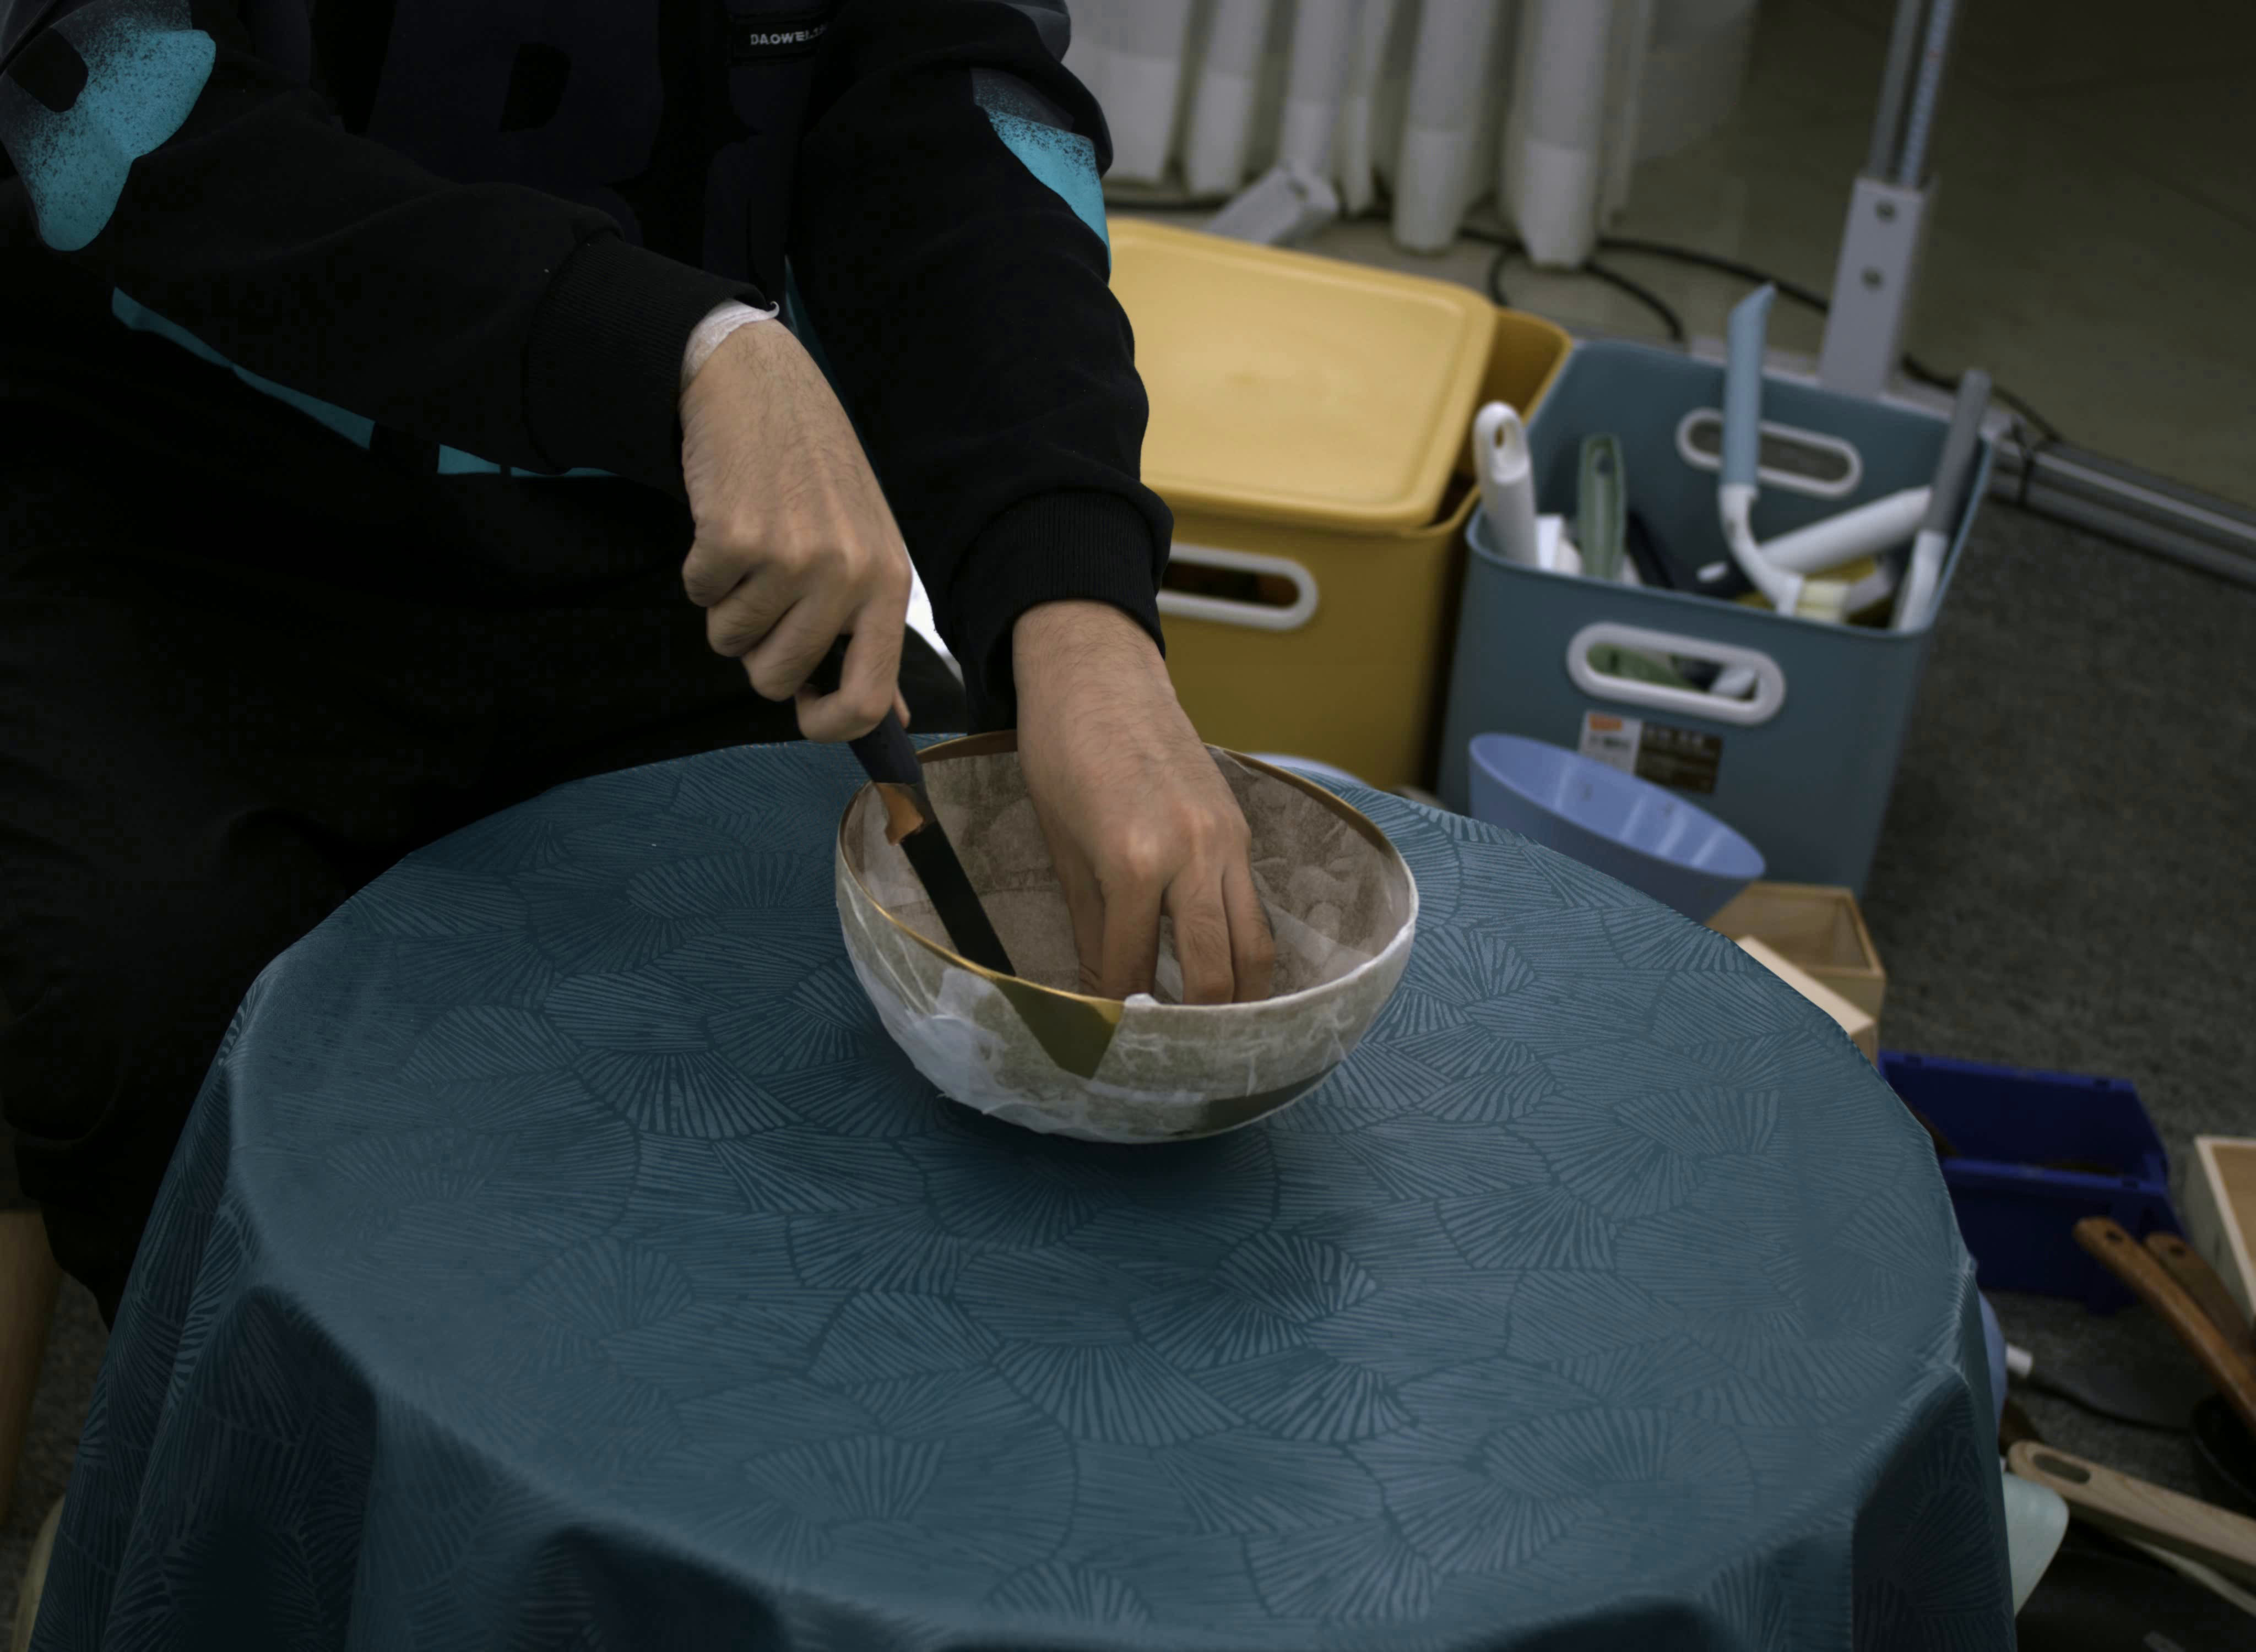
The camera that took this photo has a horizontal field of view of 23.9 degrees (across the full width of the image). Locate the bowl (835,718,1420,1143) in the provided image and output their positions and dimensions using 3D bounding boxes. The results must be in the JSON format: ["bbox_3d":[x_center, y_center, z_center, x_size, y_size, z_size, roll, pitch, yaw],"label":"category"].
[{"bbox_3d":[-0.006,0.047,1.846,0.214,0.094,0.216,5,28,-3],"label":"bowl"}]

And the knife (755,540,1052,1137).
[{"bbox_3d":[-0.074,0.004,1.843,0.026,0.226,0.017,-28,-2,38],"label":"knife"}]
